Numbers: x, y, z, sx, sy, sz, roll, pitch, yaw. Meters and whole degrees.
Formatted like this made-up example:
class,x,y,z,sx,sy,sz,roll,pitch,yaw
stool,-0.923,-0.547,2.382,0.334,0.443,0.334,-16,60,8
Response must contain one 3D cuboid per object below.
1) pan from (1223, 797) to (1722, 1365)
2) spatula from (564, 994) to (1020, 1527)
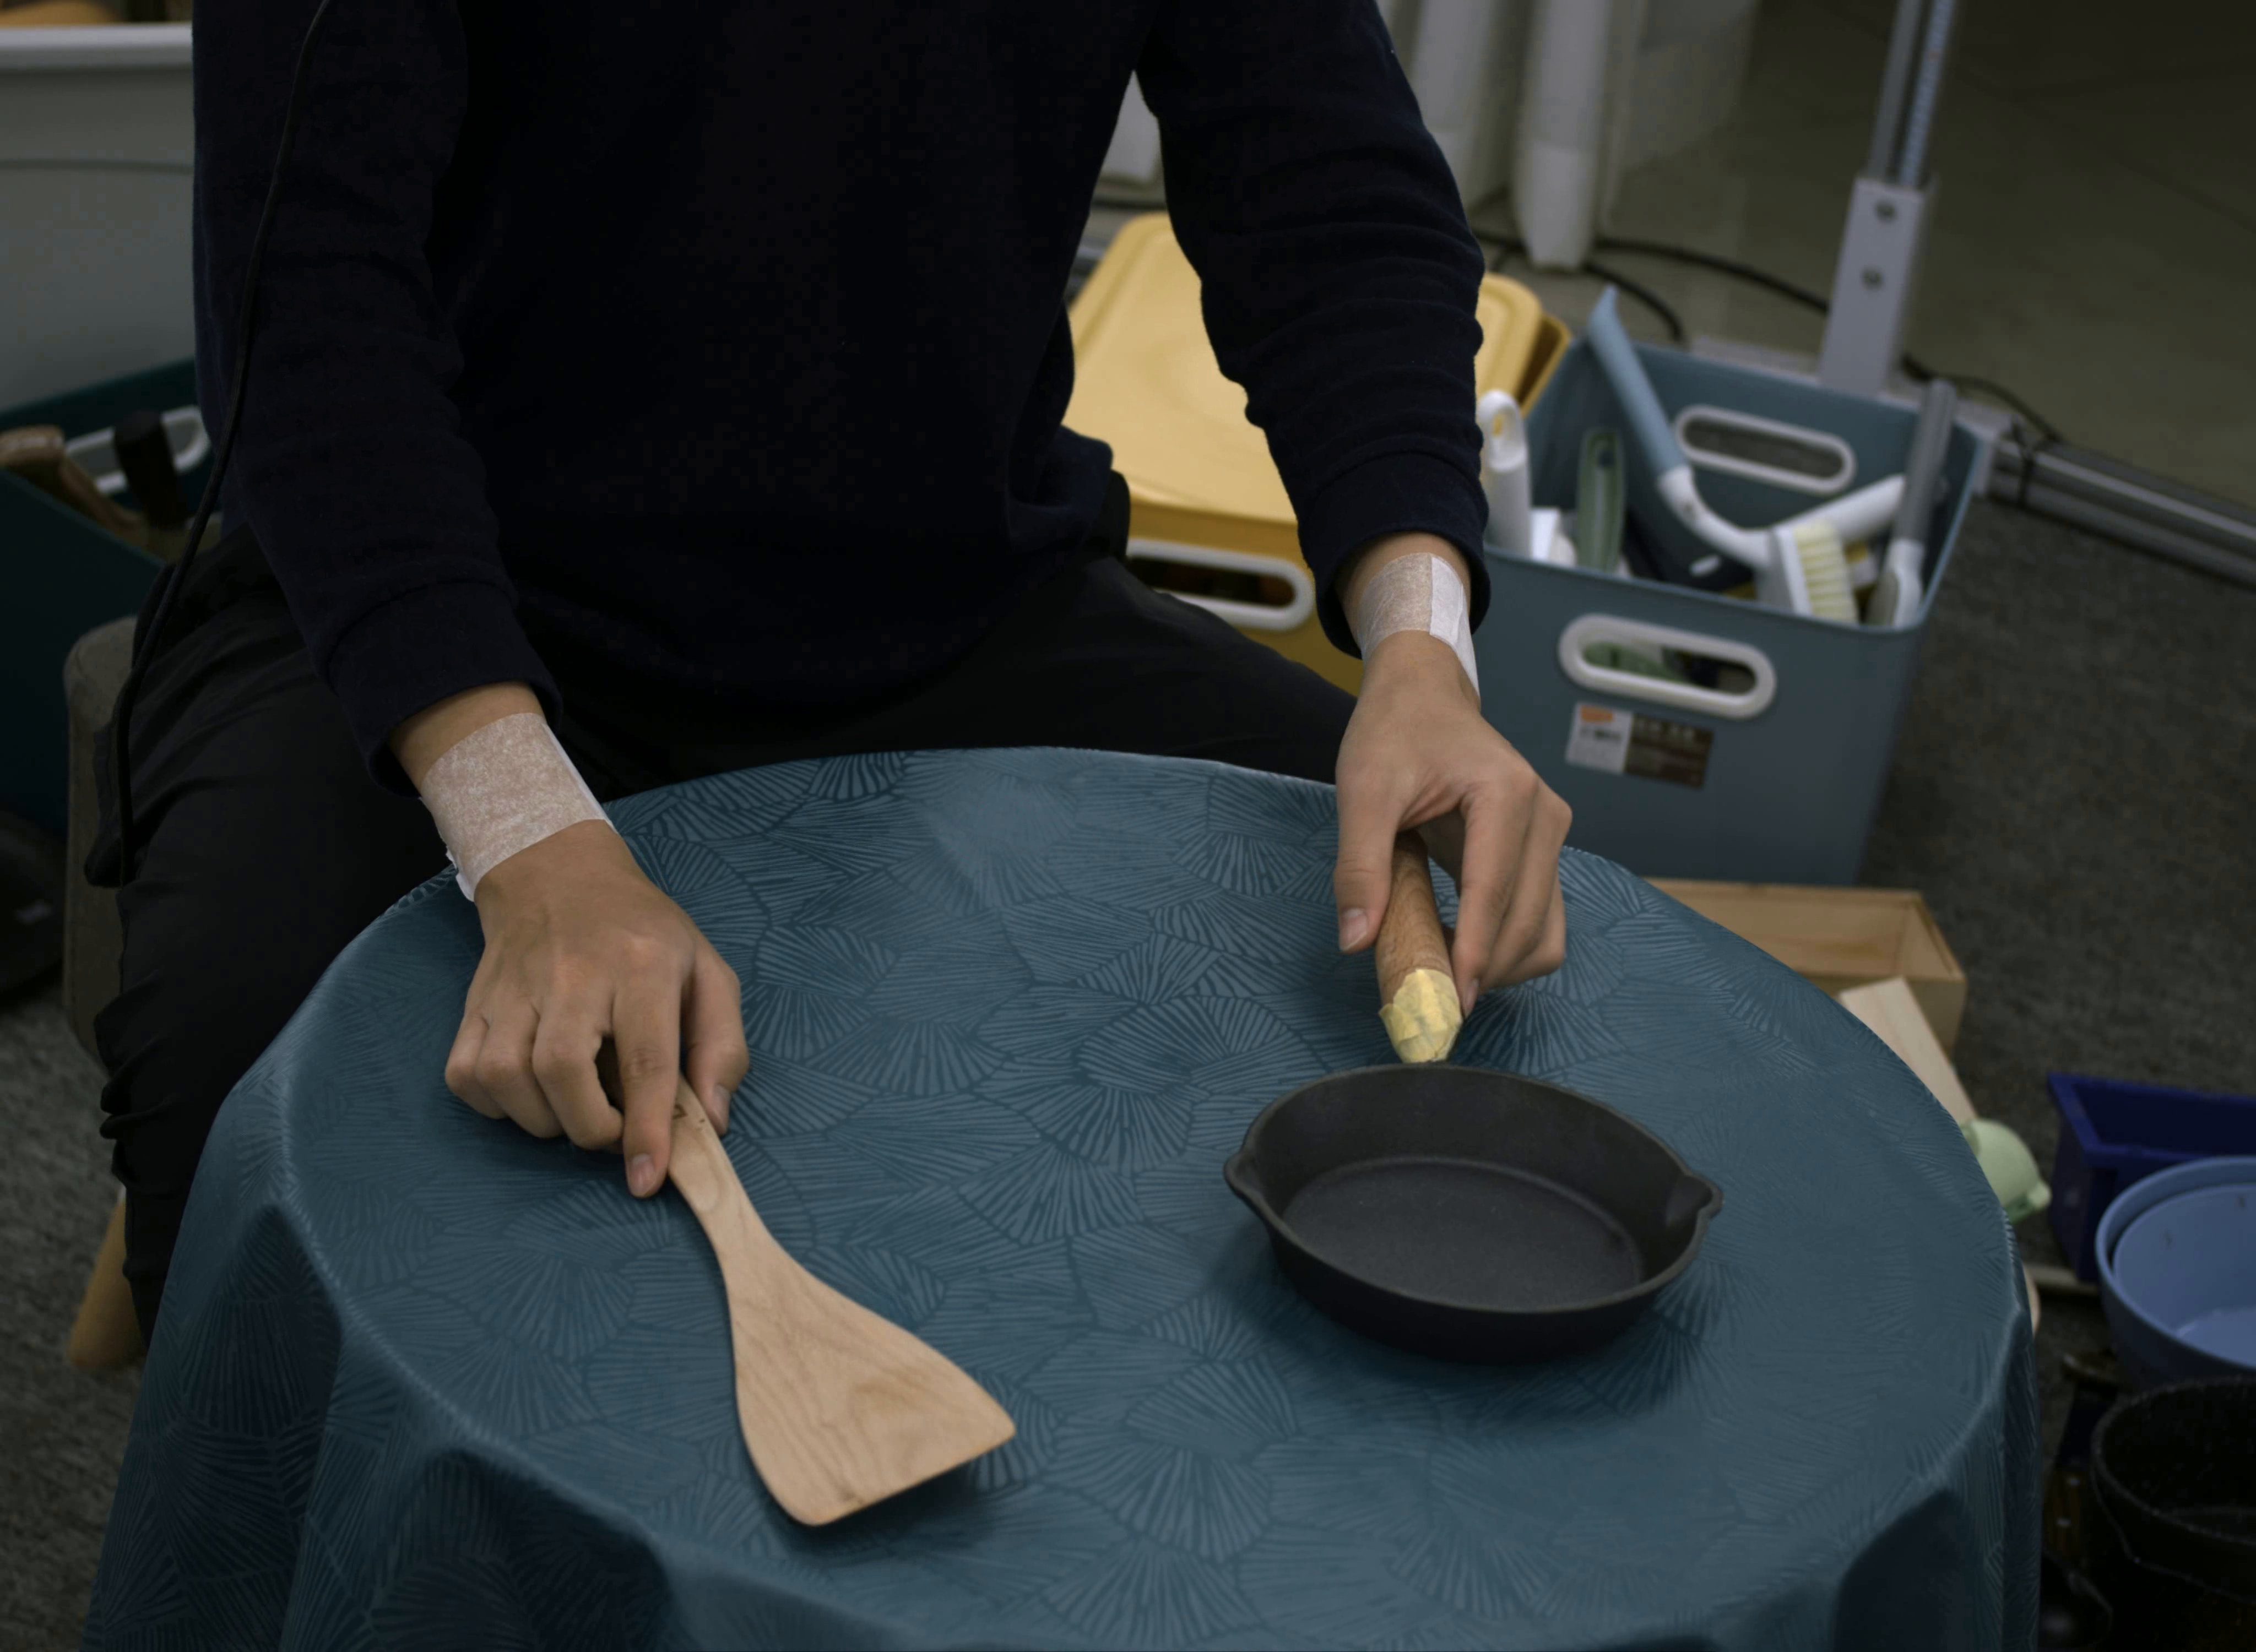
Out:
class,x,y,z,sx,sy,sz,roll,pitch,yaw
pan,0.109,0.085,1.847,0.168,0.049,0.326,4,29,-6
spatula,-0.125,0.132,1.732,0.079,0.016,0.330,-17,33,-17
